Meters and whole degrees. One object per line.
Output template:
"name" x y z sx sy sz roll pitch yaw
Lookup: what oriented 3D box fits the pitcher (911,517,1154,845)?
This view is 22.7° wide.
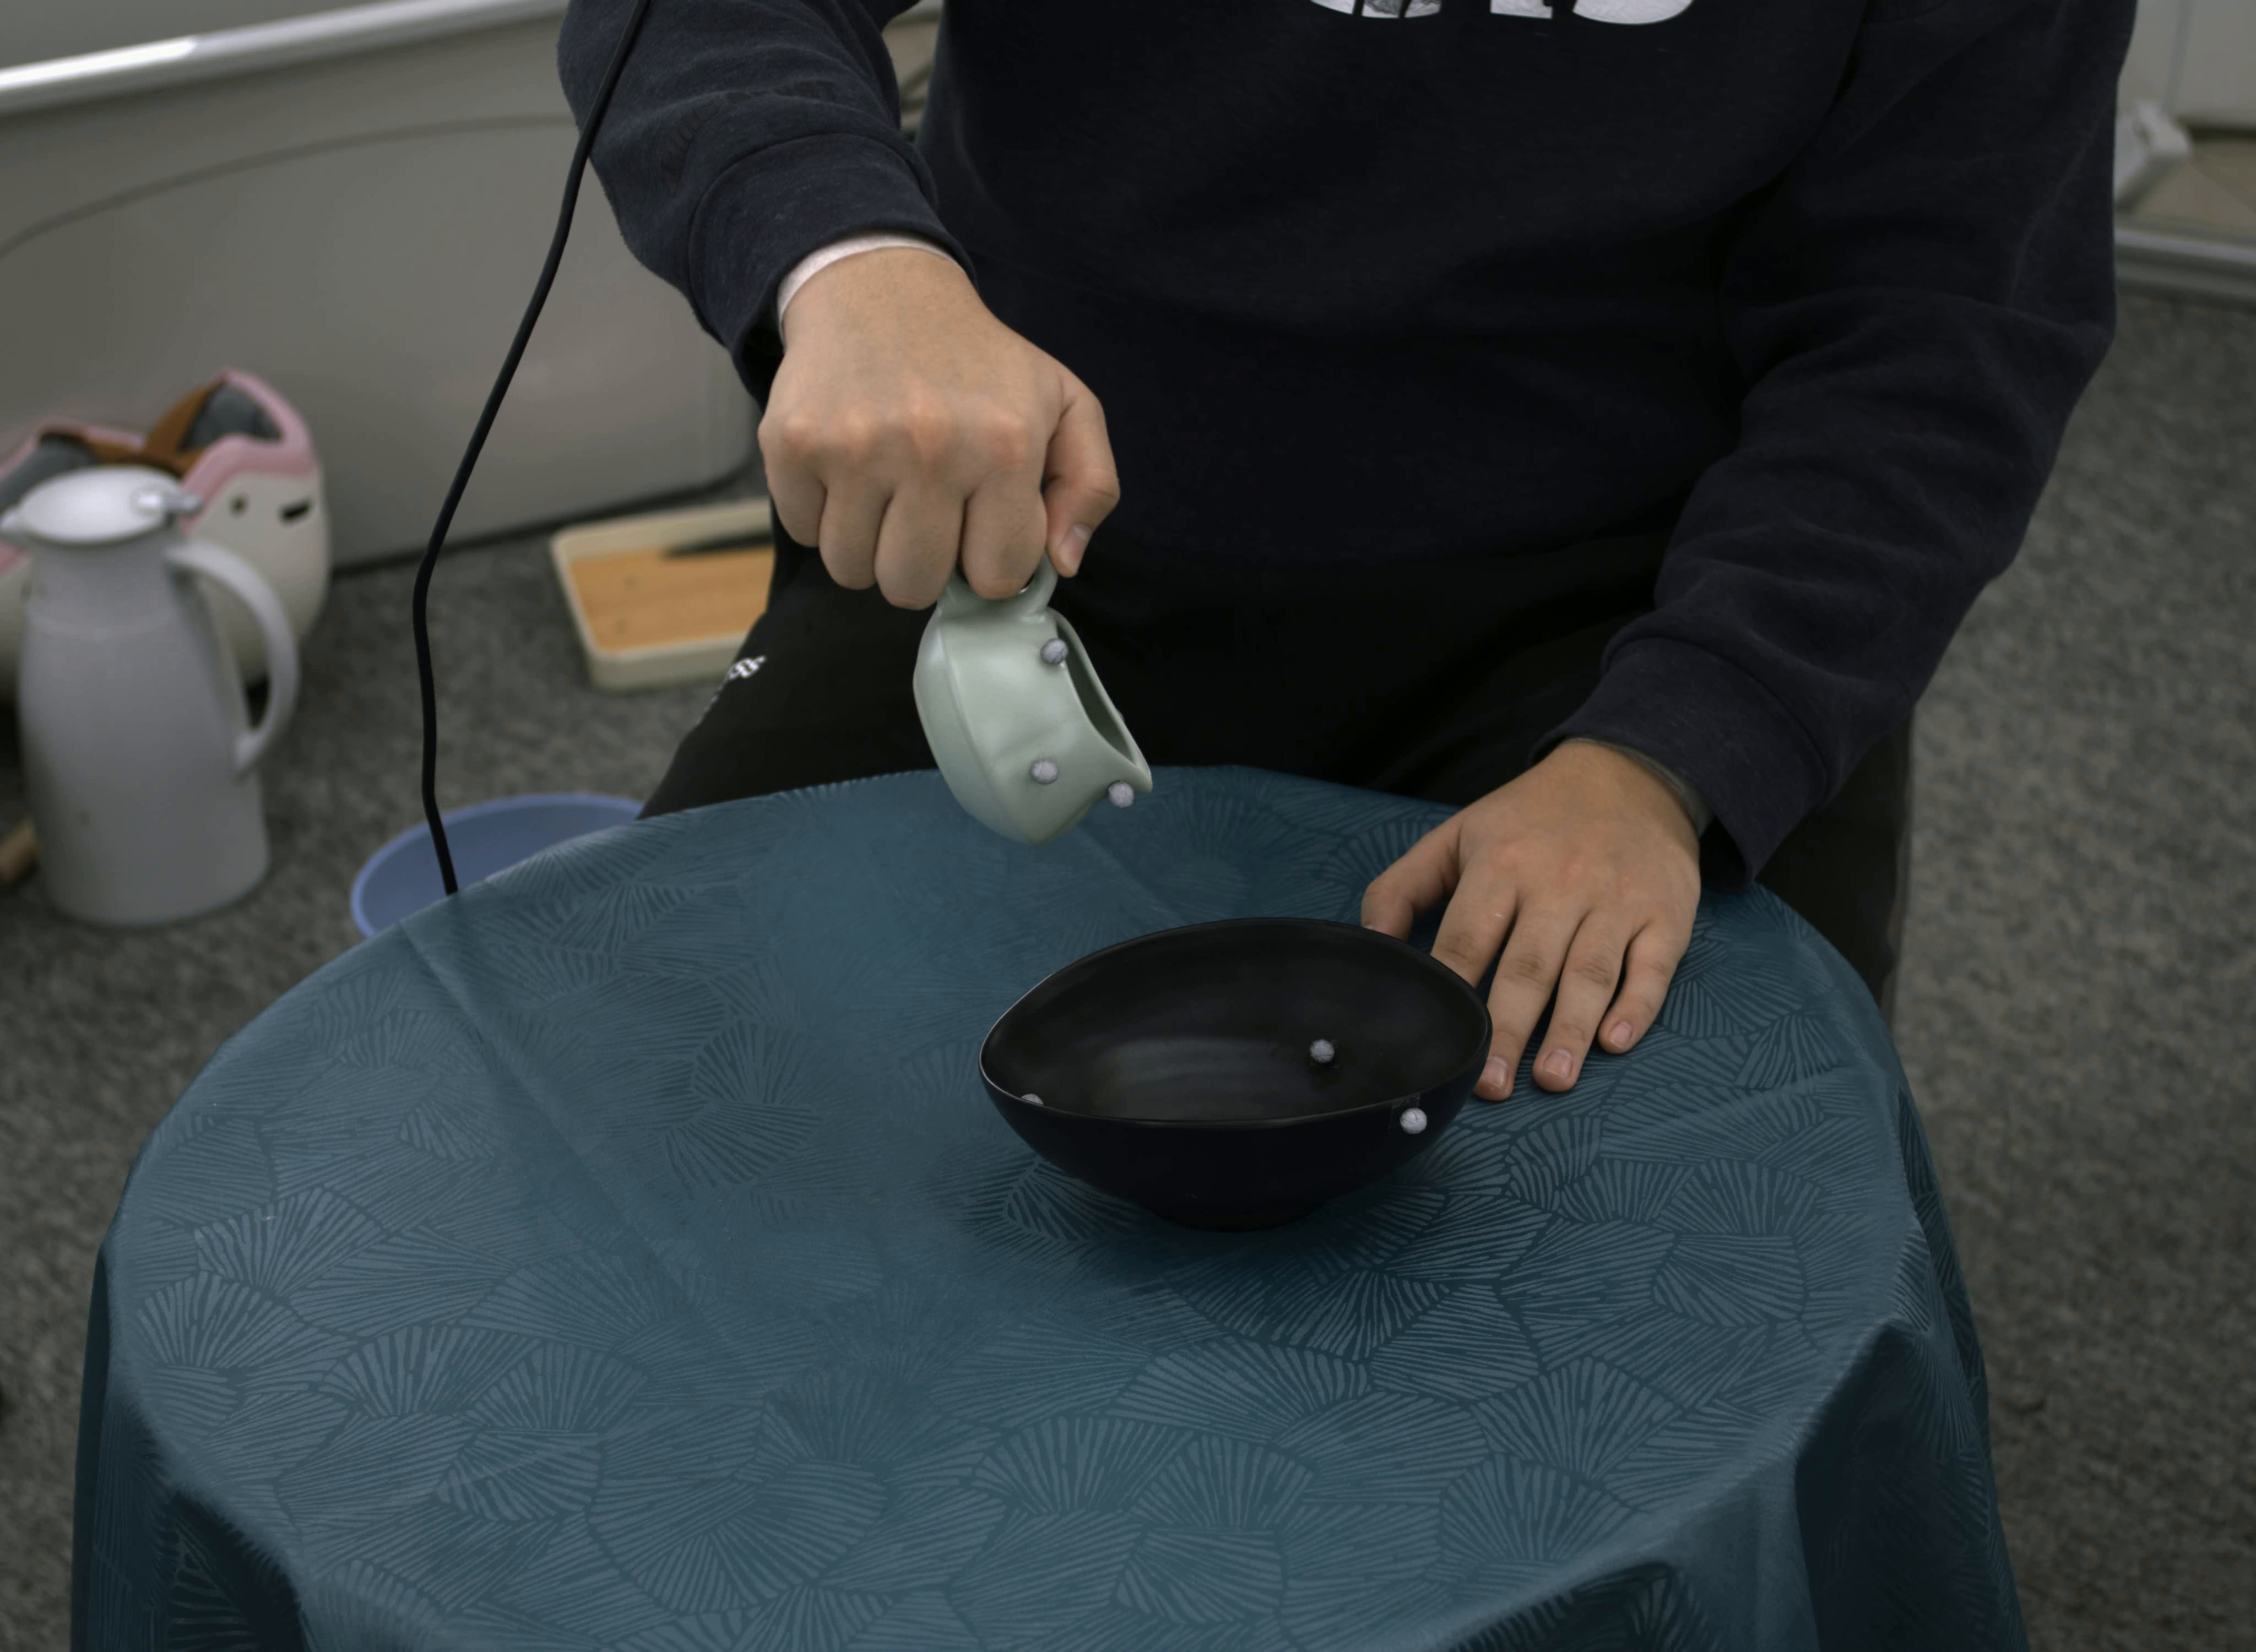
"pitcher" -0.038 -0.047 1.781 0.060 0.107 0.087 -23 23 8

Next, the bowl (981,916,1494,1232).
"bowl" 0.037 0.091 1.854 0.169 0.066 0.139 -2 26 2
